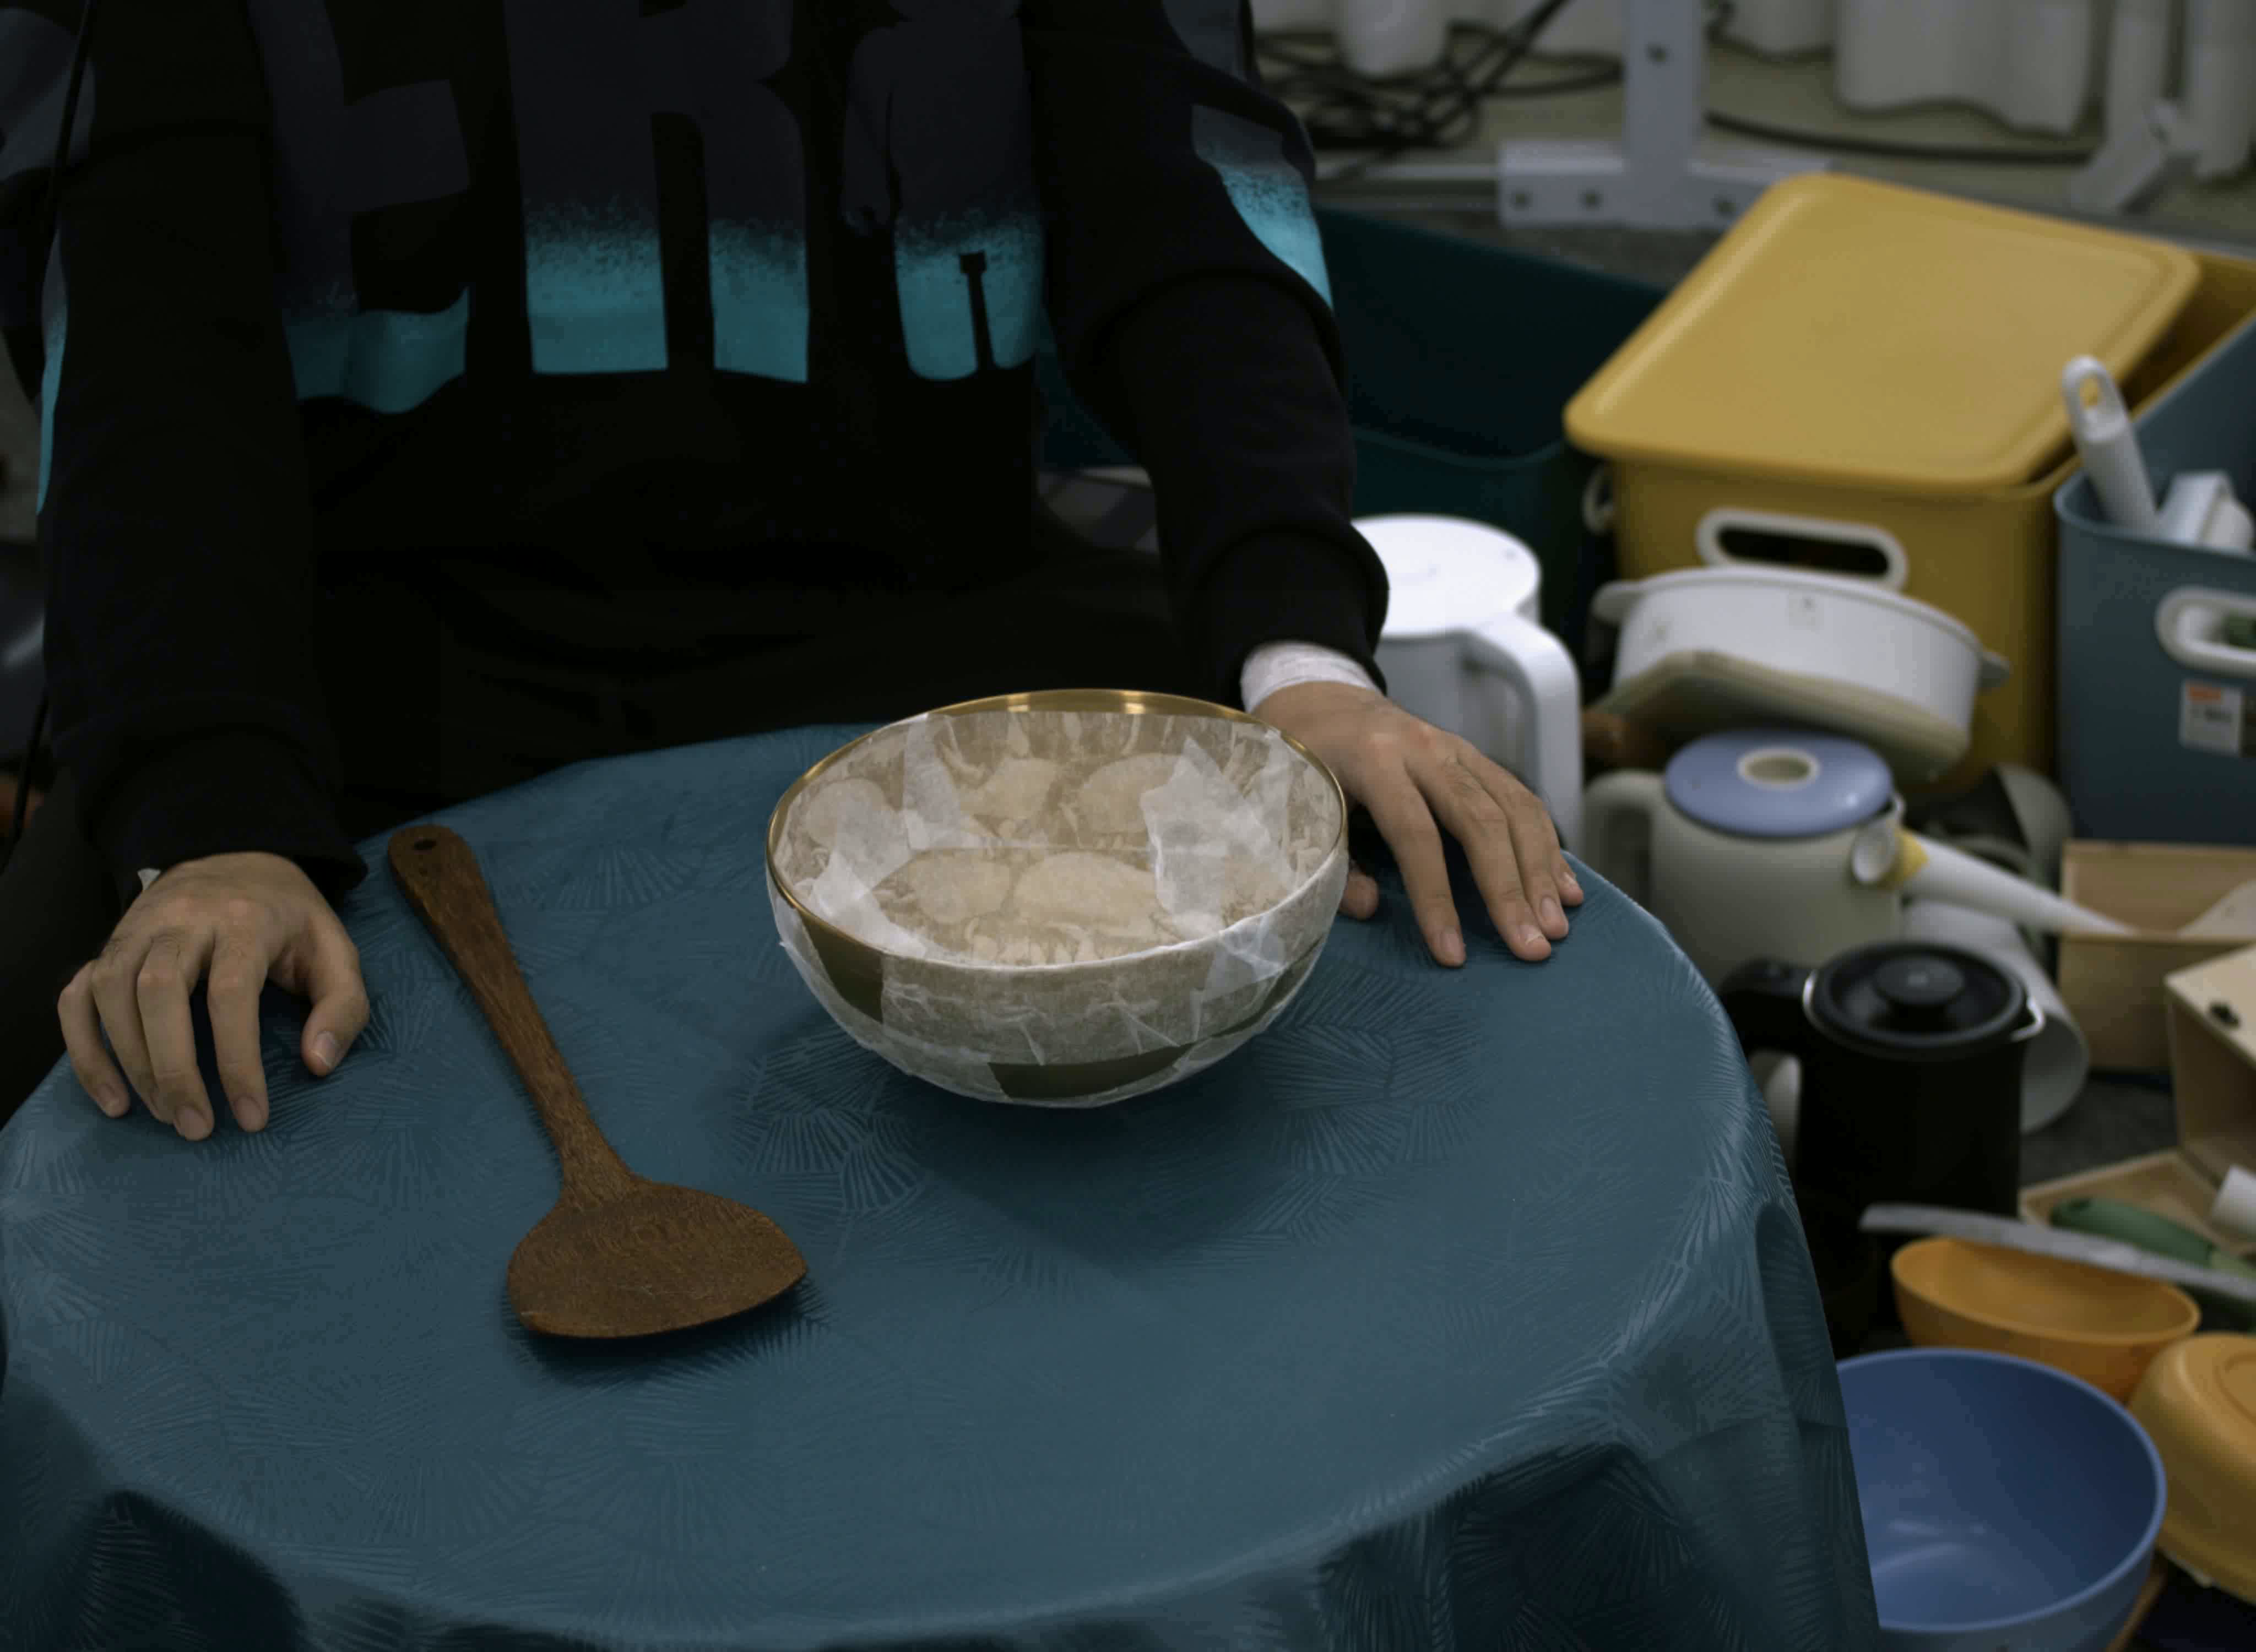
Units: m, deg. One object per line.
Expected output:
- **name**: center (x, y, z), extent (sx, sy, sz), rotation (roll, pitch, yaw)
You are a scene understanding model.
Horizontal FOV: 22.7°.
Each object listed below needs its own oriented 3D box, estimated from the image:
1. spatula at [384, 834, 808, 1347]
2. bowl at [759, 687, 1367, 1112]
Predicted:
- **spatula**: center (-0.204, 0.083, 1.942), extent (0.096, 0.015, 0.389), rotation (-11, 28, -16)
- **bowl**: center (-0.020, 0.036, 1.929), extent (0.213, 0.093, 0.218), rotation (-4, 26, 2)
